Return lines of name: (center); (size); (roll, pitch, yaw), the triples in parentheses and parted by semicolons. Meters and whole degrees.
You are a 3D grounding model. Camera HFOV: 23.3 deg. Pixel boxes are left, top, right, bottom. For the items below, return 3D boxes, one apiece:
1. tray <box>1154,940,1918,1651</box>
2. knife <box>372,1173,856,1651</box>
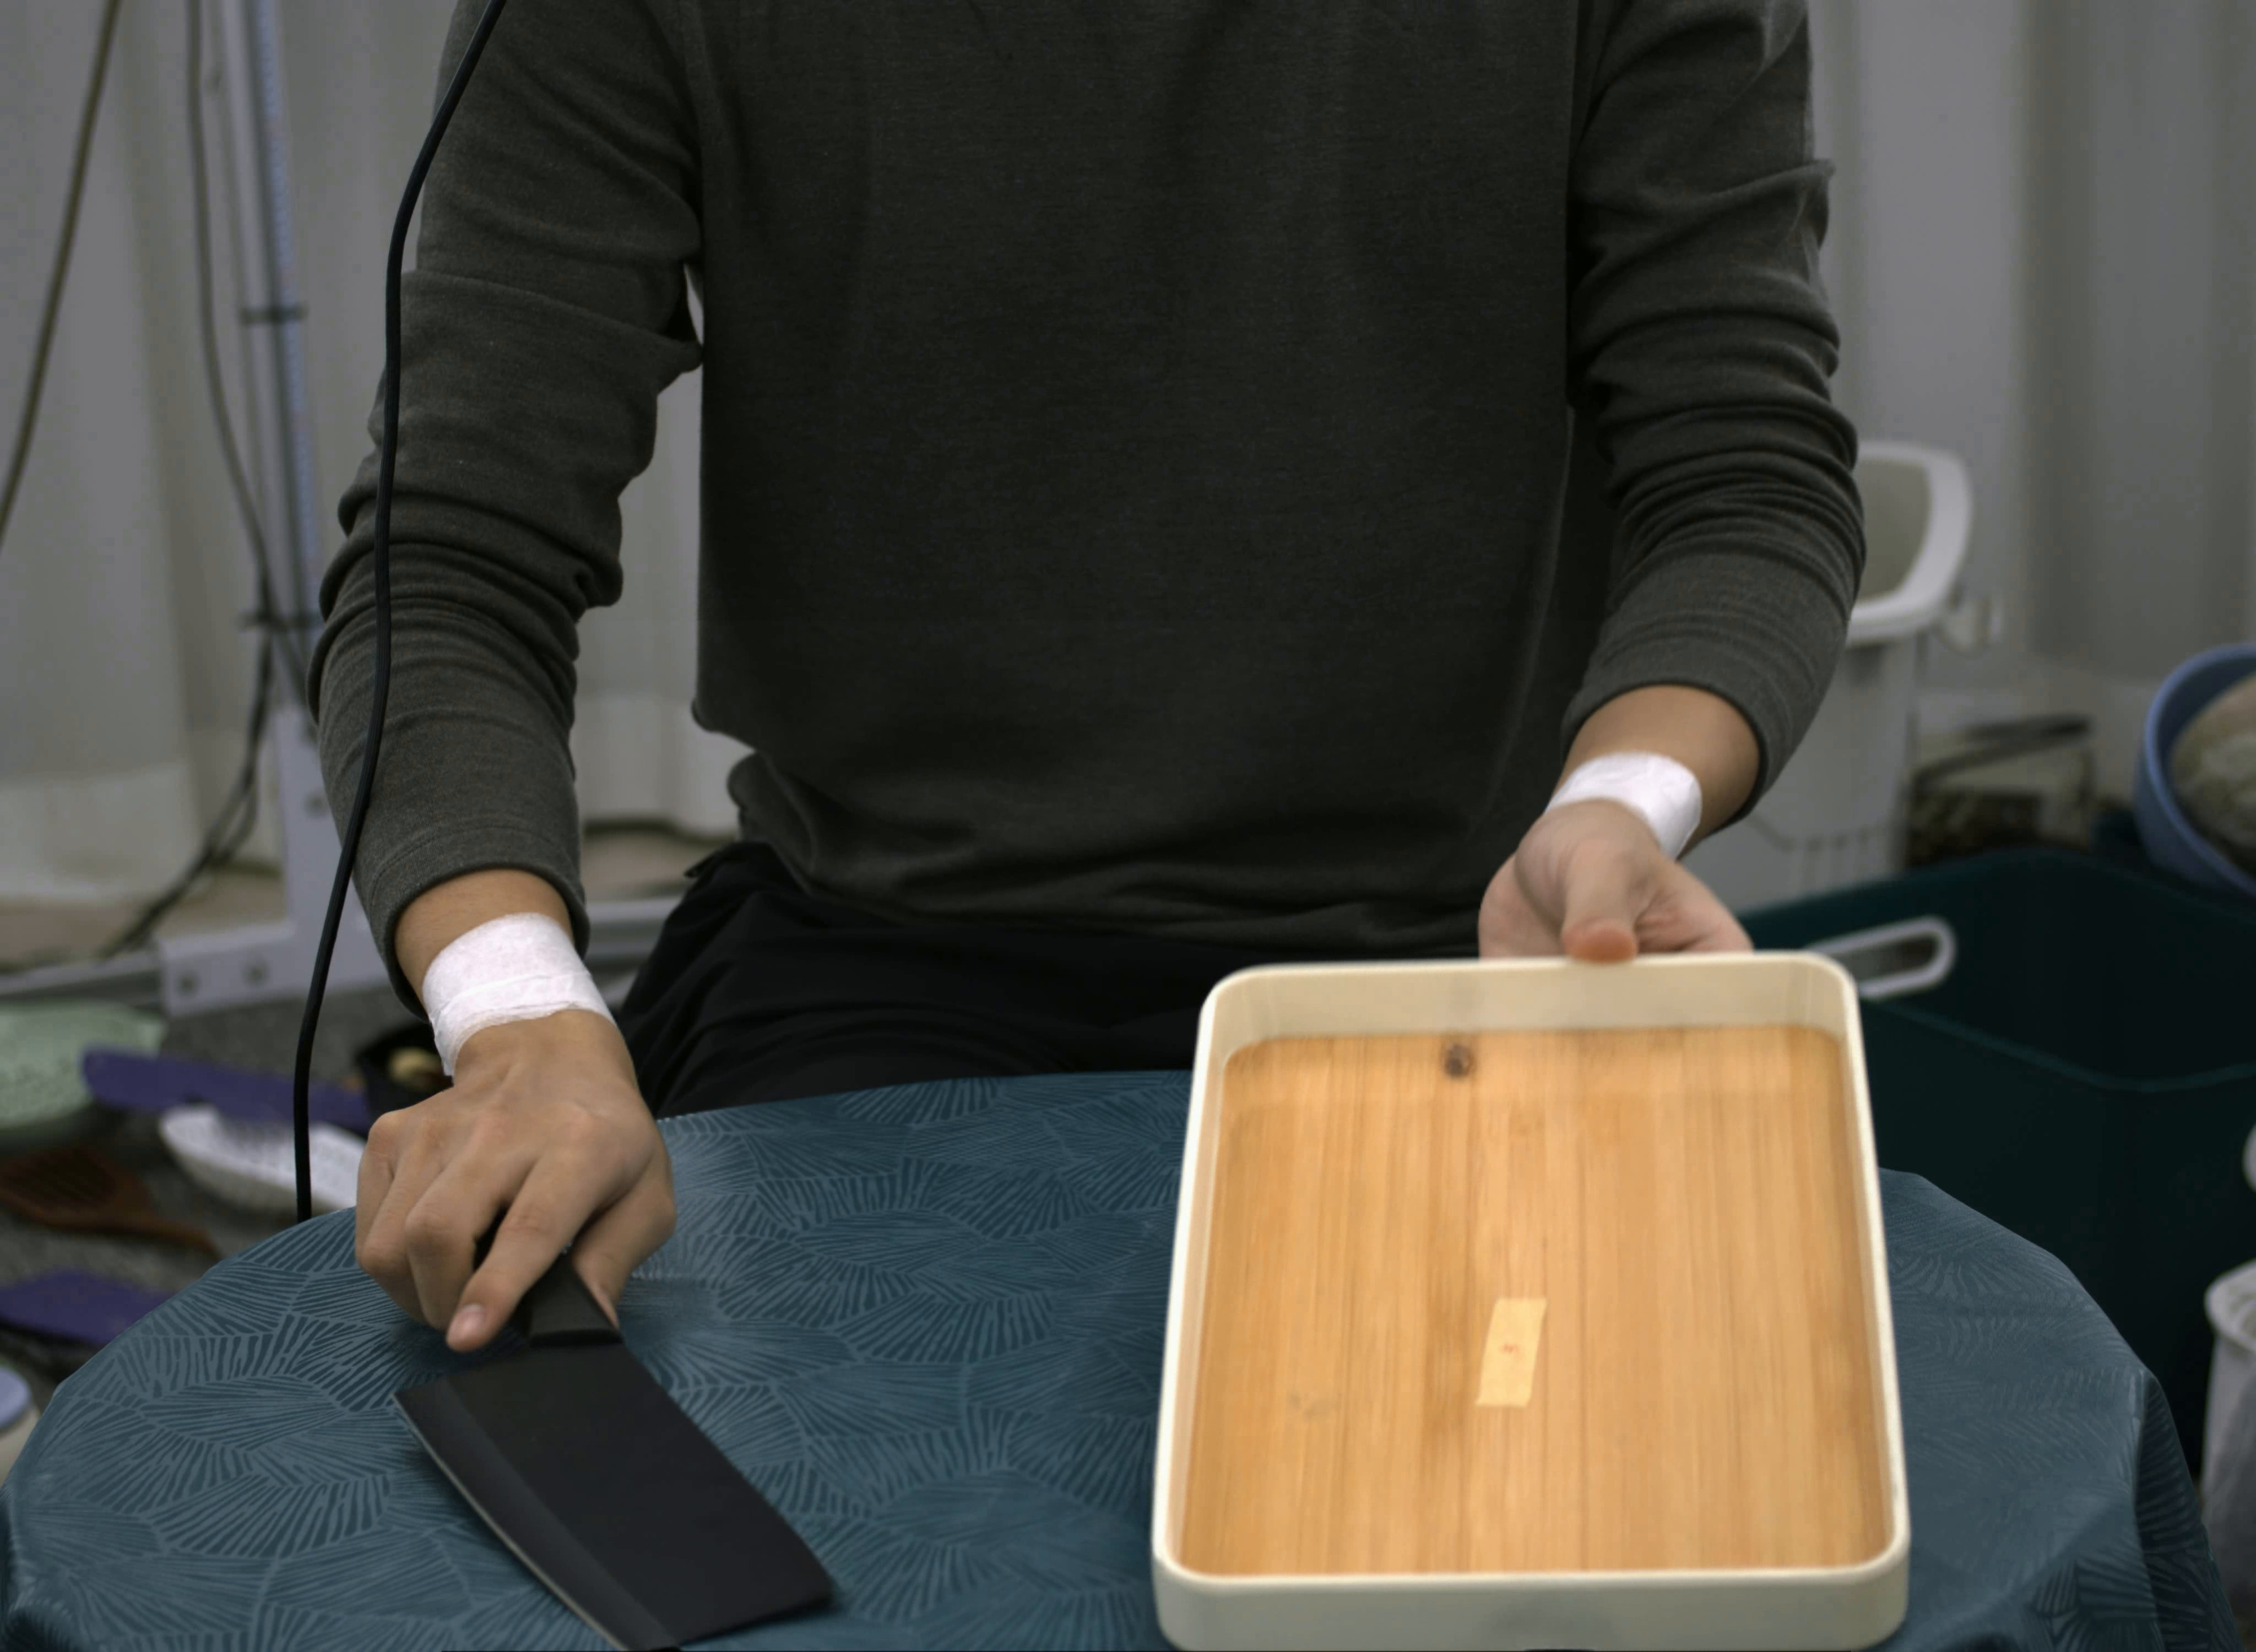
tray: (0.110, 0.121, 1.476); (0.191, 0.027, 0.304); (-1, 30, 6)
knife: (-0.159, 0.159, 1.517); (0.080, 0.021, 0.305); (-13, 22, -18)
